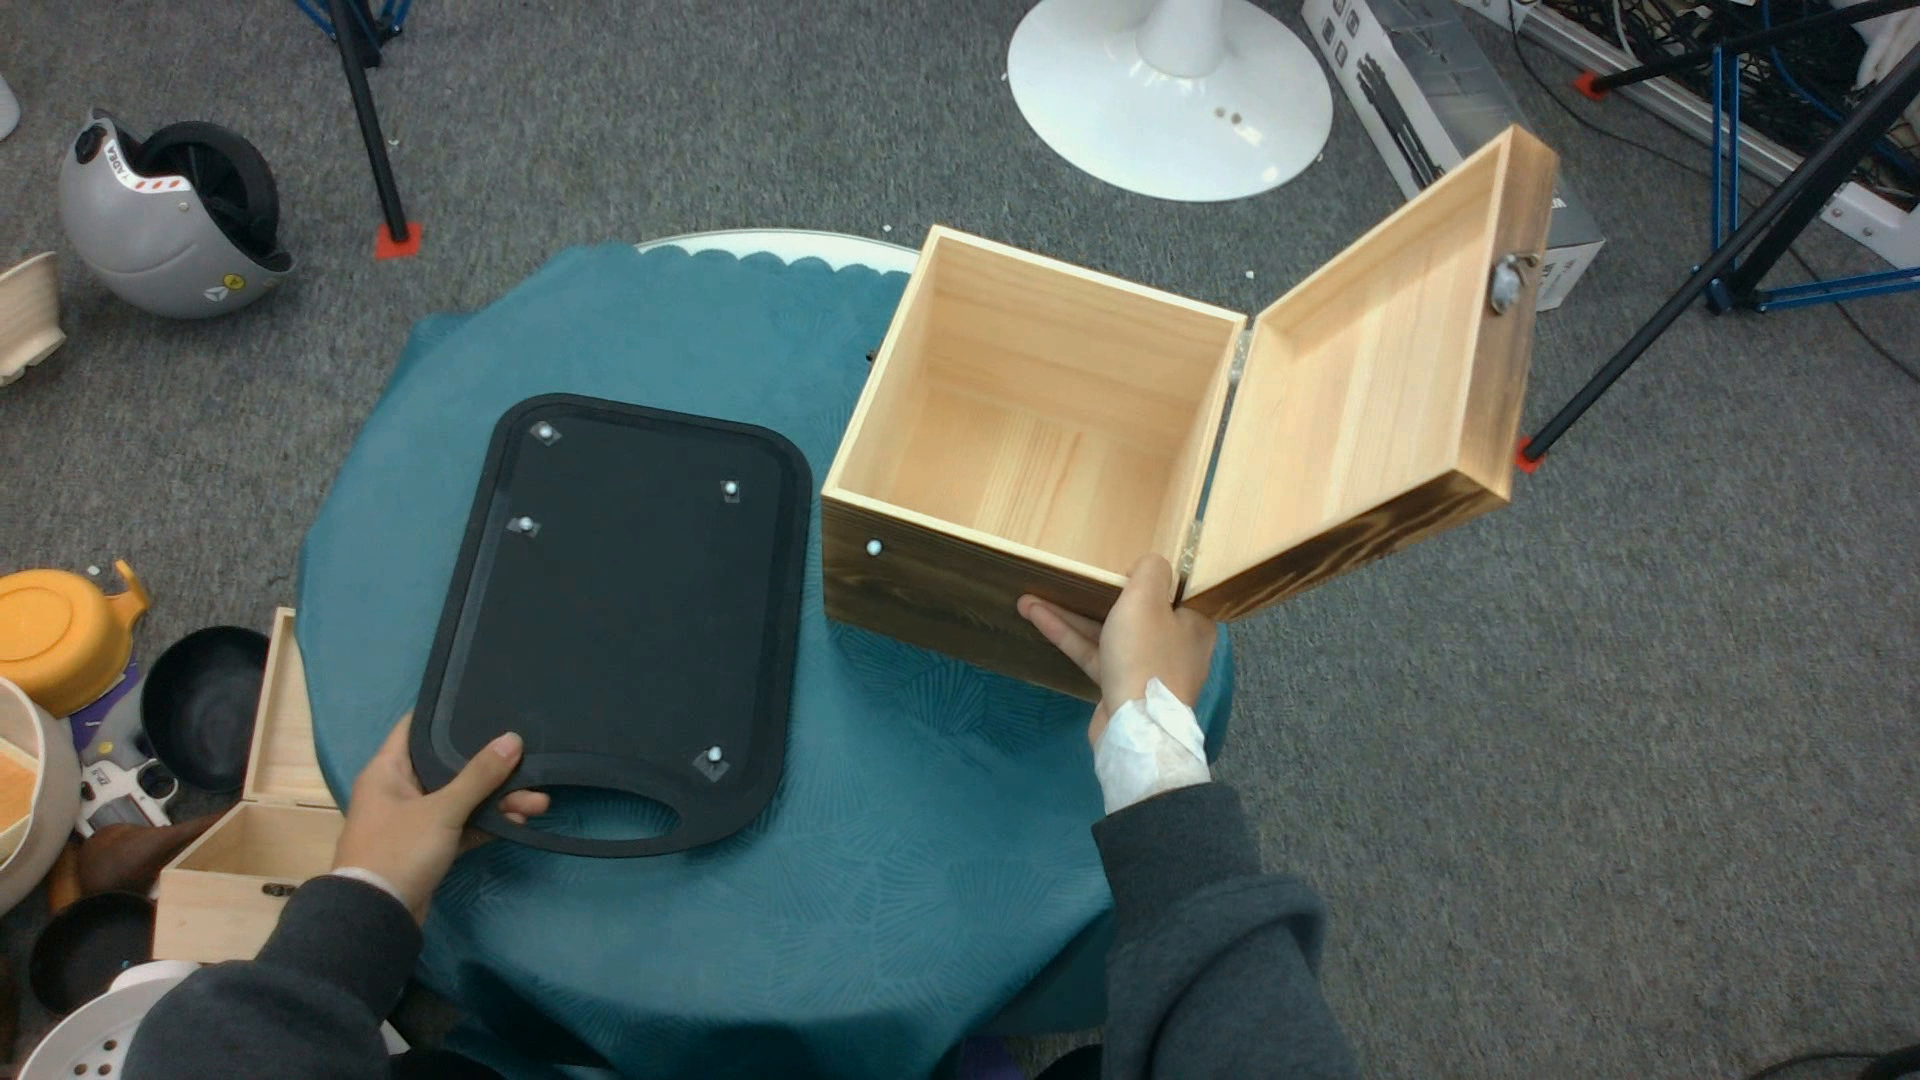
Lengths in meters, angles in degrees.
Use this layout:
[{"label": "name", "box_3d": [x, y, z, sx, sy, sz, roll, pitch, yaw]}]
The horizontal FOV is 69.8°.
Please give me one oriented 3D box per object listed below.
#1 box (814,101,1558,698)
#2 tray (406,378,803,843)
[{"label": "box", "box_3d": [0.096, -0.080, 0.775, 0.322, 0.373, 0.209, 17, 62, 2]}, {"label": "tray", "box_3d": [-0.209, 0.032, 0.854, 0.211, 0.010, 0.327, 9, 54, -12]}]
